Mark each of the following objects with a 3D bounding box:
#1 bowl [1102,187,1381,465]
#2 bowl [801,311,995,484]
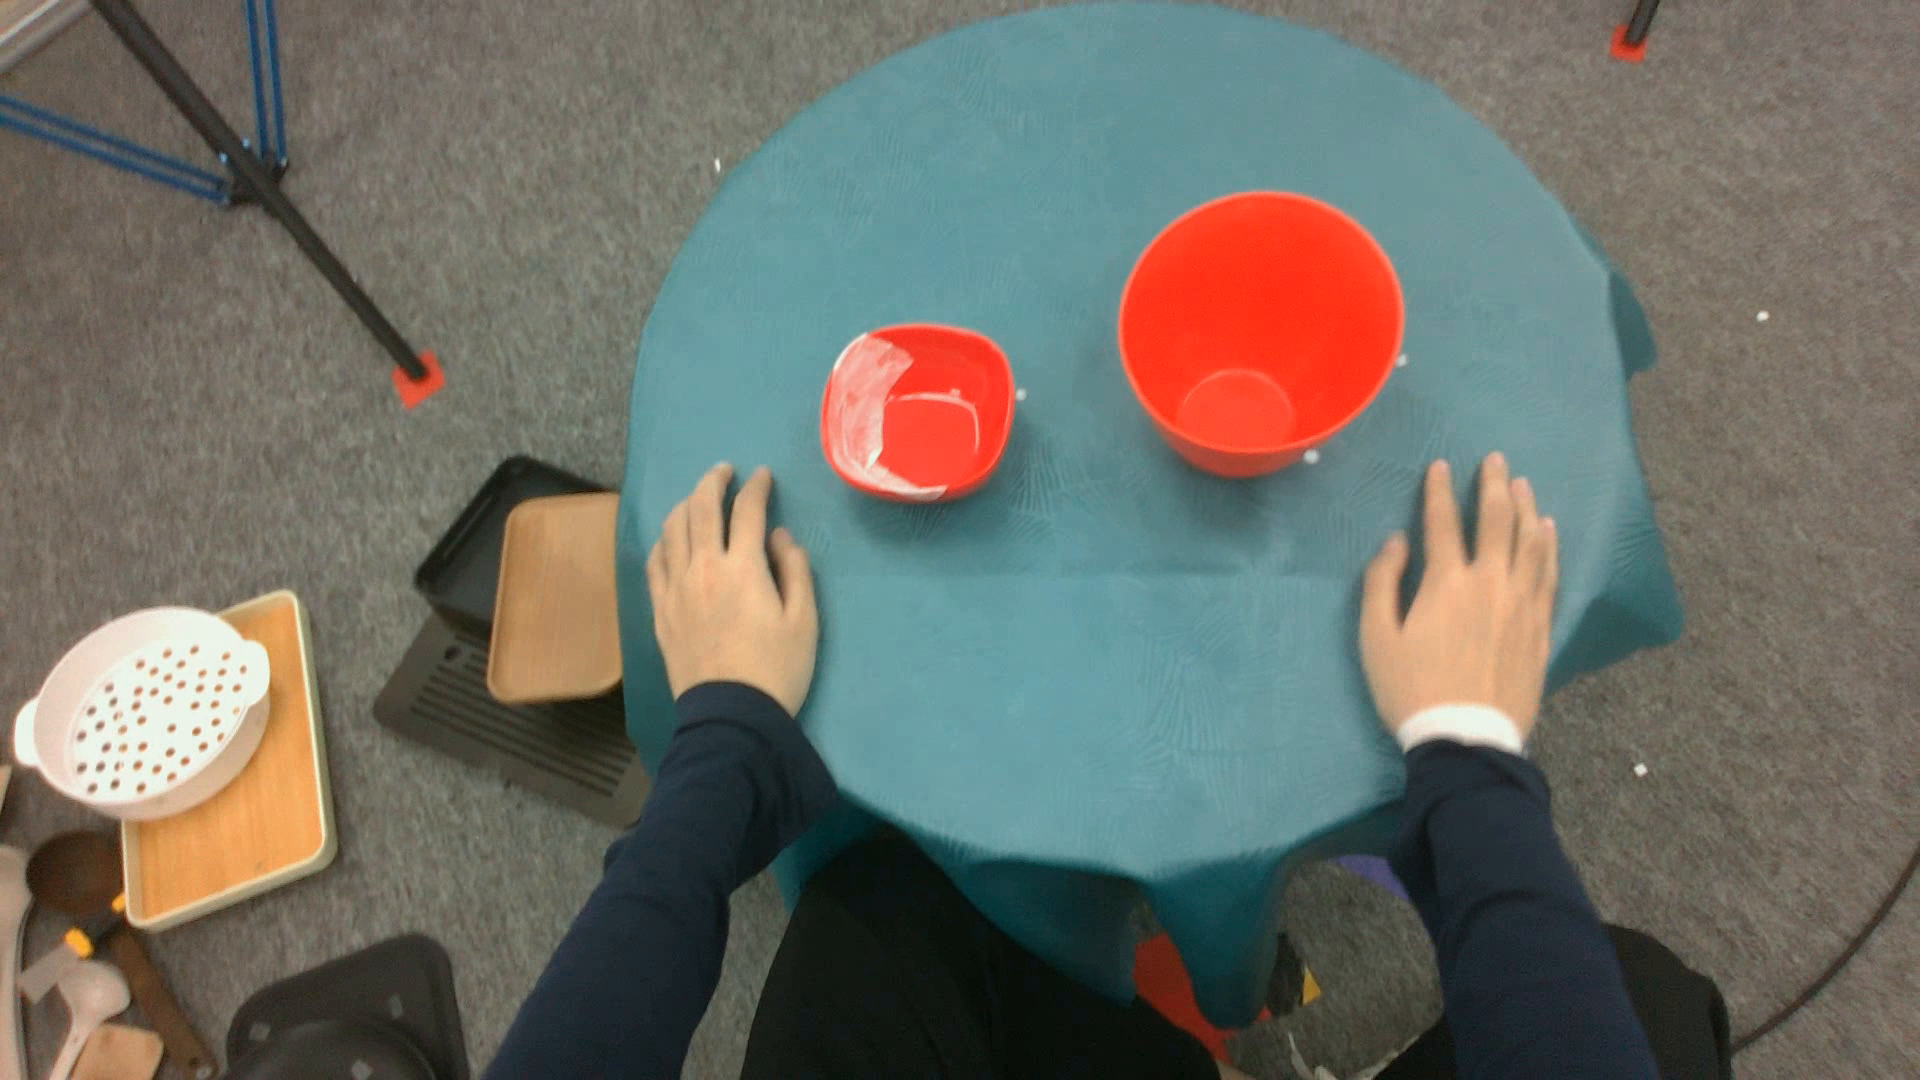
[{"bbox_3d":[0.153,-0.107,0.775,0.148,0.104,0.148,-2,65,4],"label":"bowl"},{"bbox_3d":[-0.034,-0.074,0.799,0.119,0.051,0.119,-1,62,3],"label":"bowl"}]
